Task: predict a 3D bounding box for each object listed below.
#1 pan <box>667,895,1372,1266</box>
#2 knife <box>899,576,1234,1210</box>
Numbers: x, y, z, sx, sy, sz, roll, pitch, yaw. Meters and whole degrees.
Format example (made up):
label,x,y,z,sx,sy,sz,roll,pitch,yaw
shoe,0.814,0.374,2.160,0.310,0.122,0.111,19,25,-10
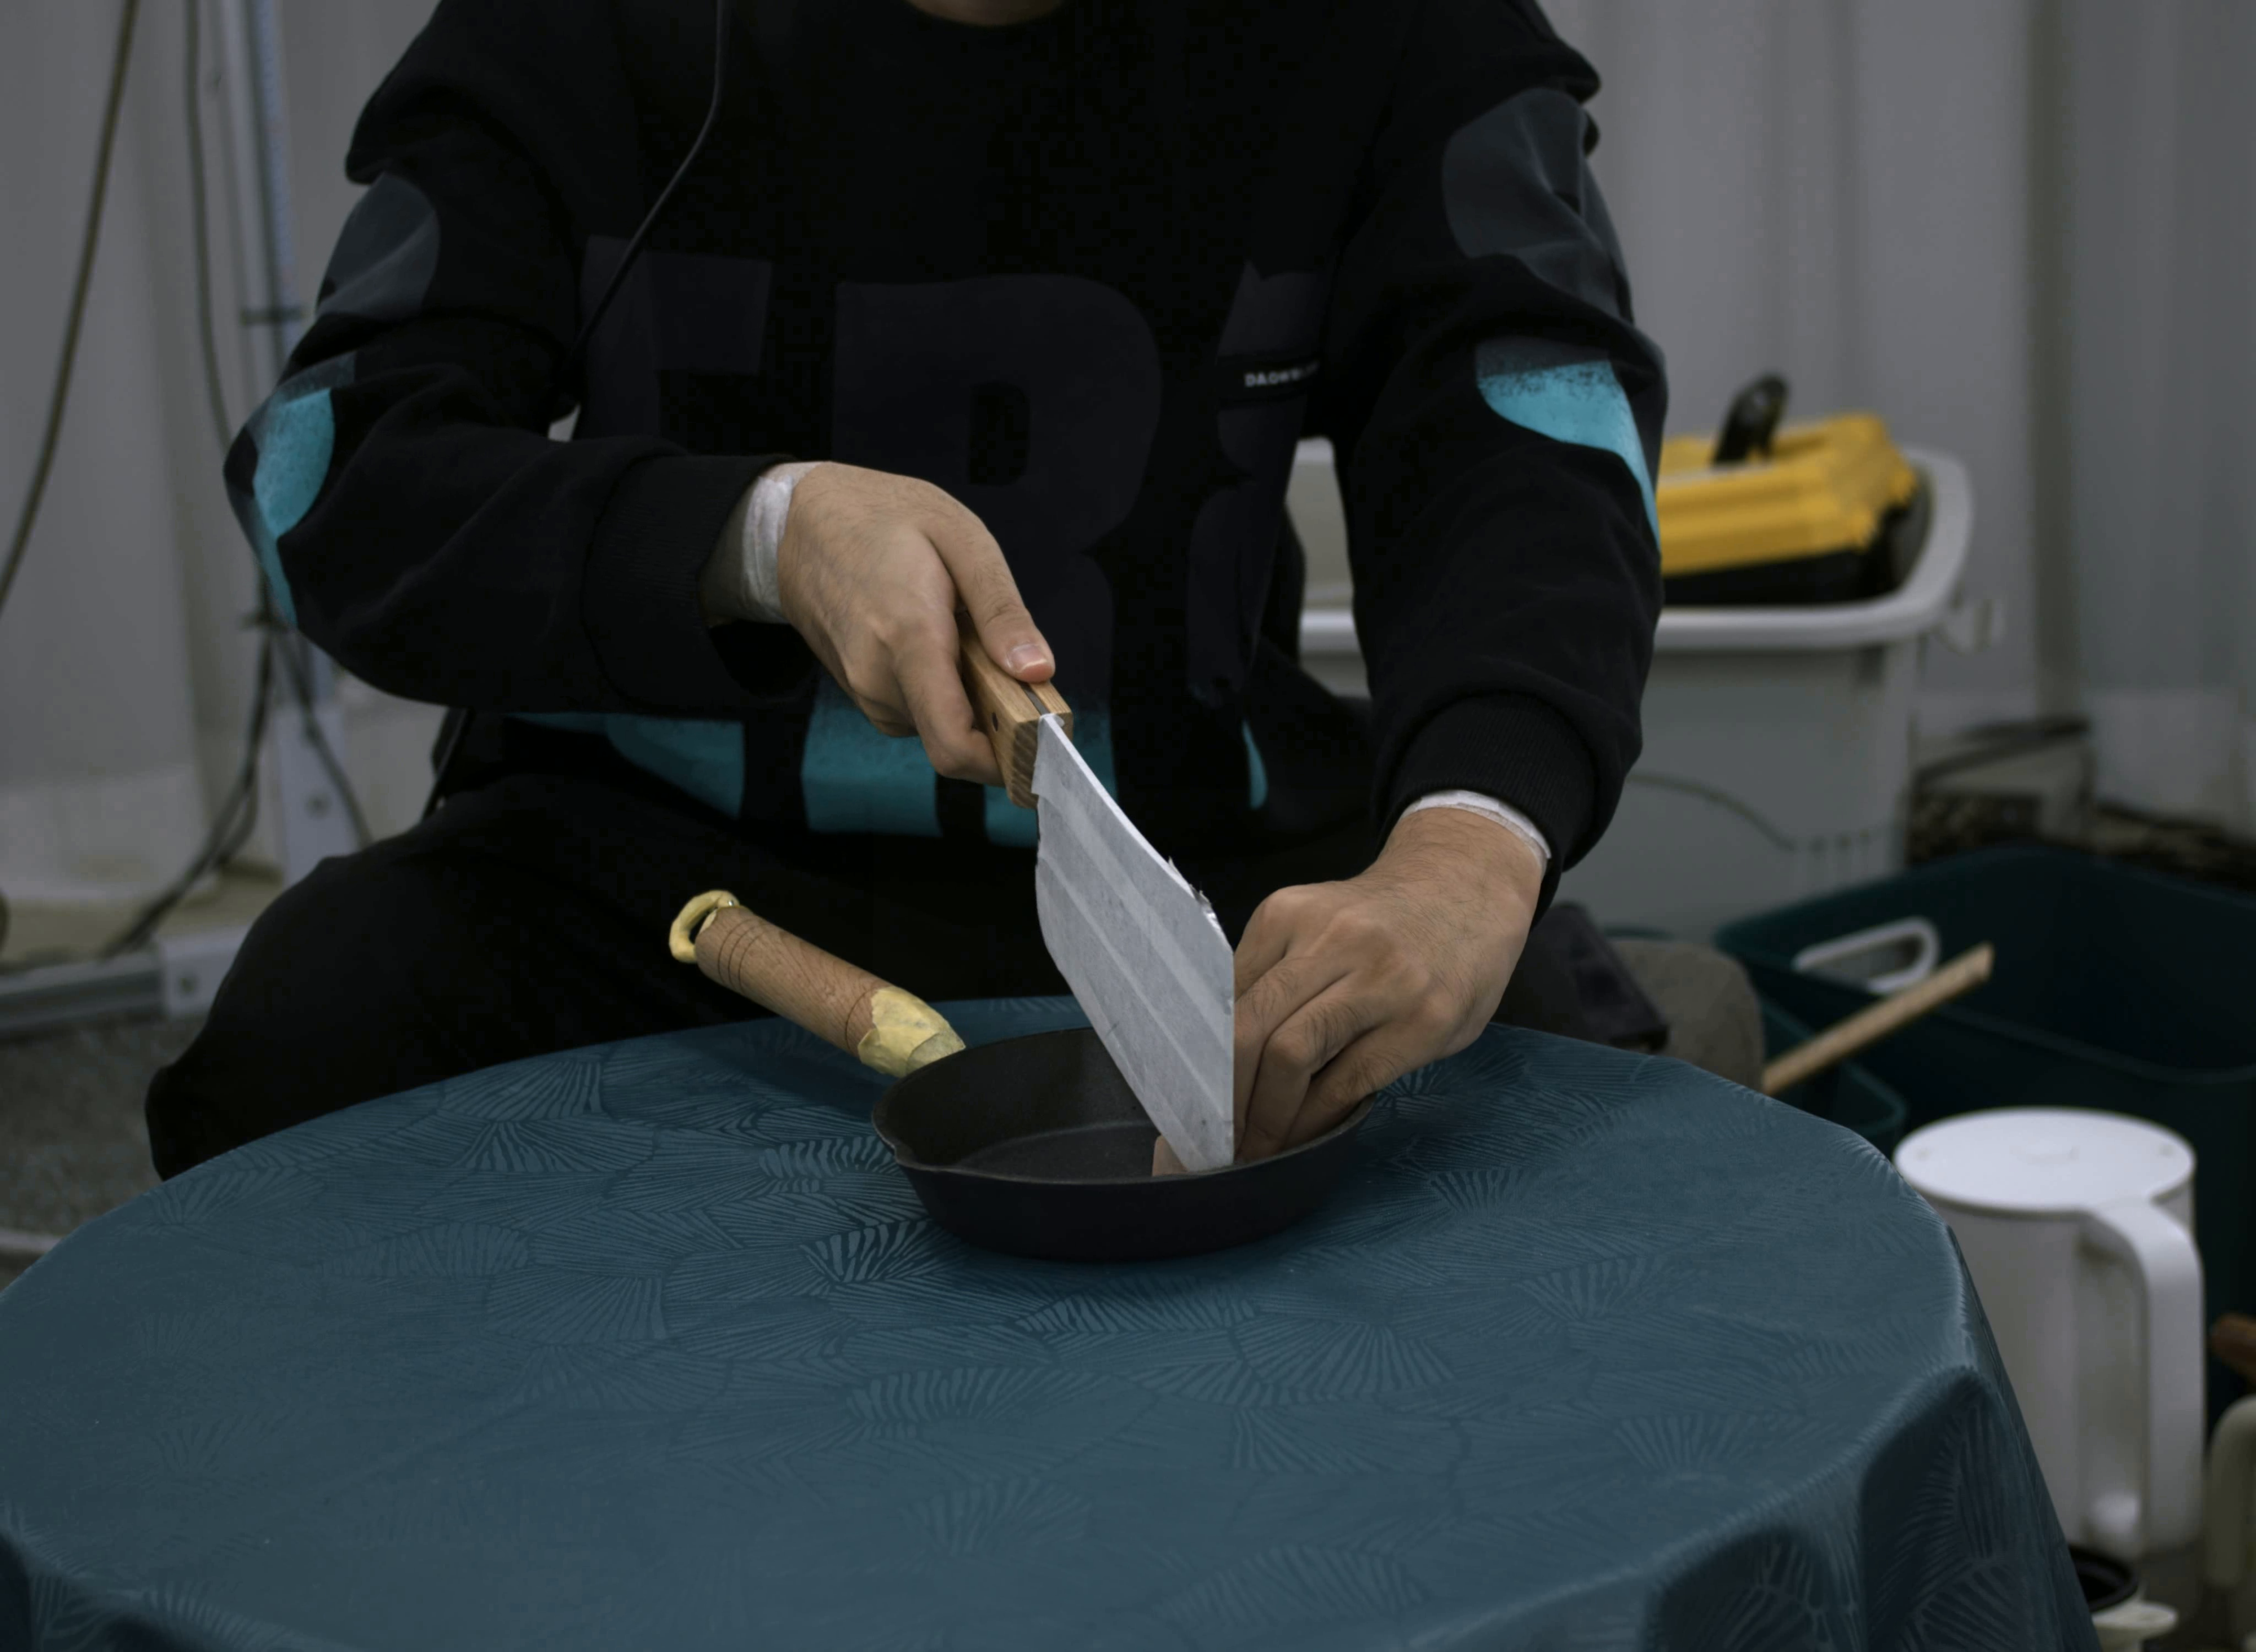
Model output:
label,x,y,z,sx,sy,sz,roll,pitch,yaw
pan,-0.052,0.078,1.768,0.168,0.049,0.326,-14,19,-35
knife,-0.018,0.004,1.760,0.021,0.113,0.320,-8,33,-18
